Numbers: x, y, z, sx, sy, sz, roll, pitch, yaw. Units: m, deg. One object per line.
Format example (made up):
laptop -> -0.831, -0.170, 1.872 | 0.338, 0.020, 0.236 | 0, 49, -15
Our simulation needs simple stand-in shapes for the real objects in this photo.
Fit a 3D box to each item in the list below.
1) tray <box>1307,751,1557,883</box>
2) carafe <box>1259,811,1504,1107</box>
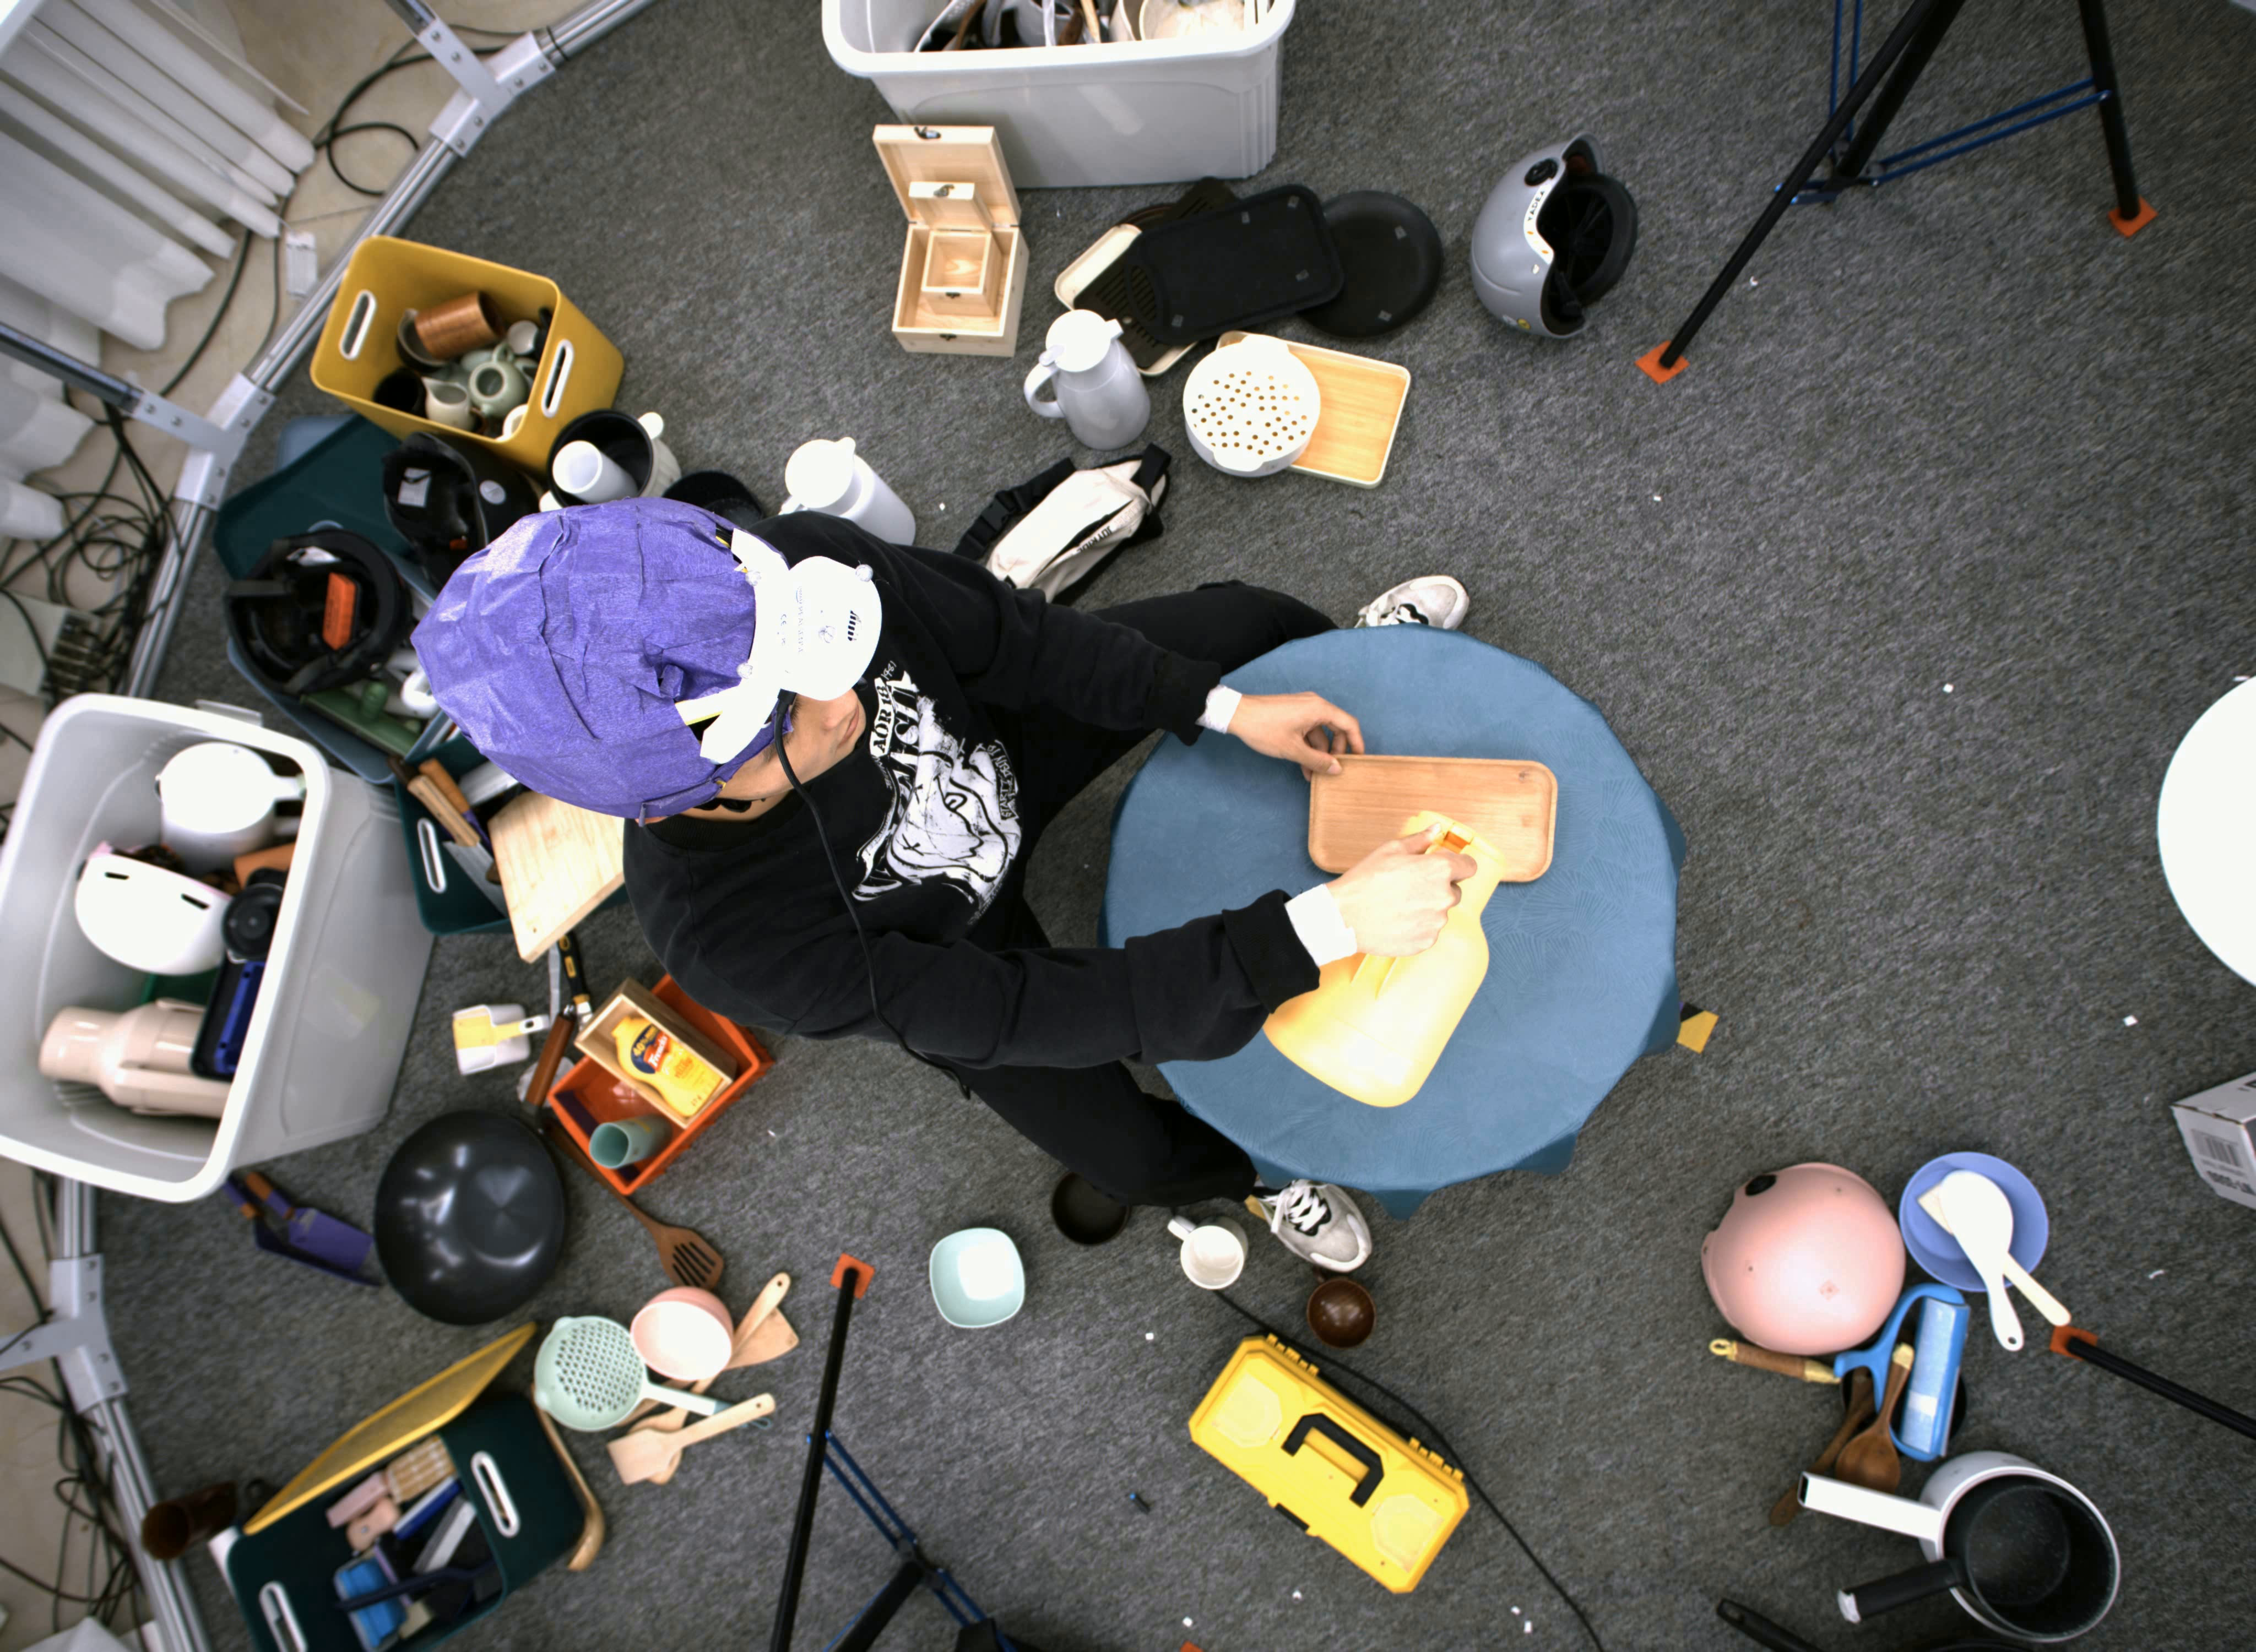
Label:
tray -> 0.313, -0.012, 1.428 | 0.251, 0.022, 0.132 | 4, 103, 10
carafe -> 0.235, 0.110, 1.240 | 0.163, 0.203, 0.261 | 30, 92, 18
